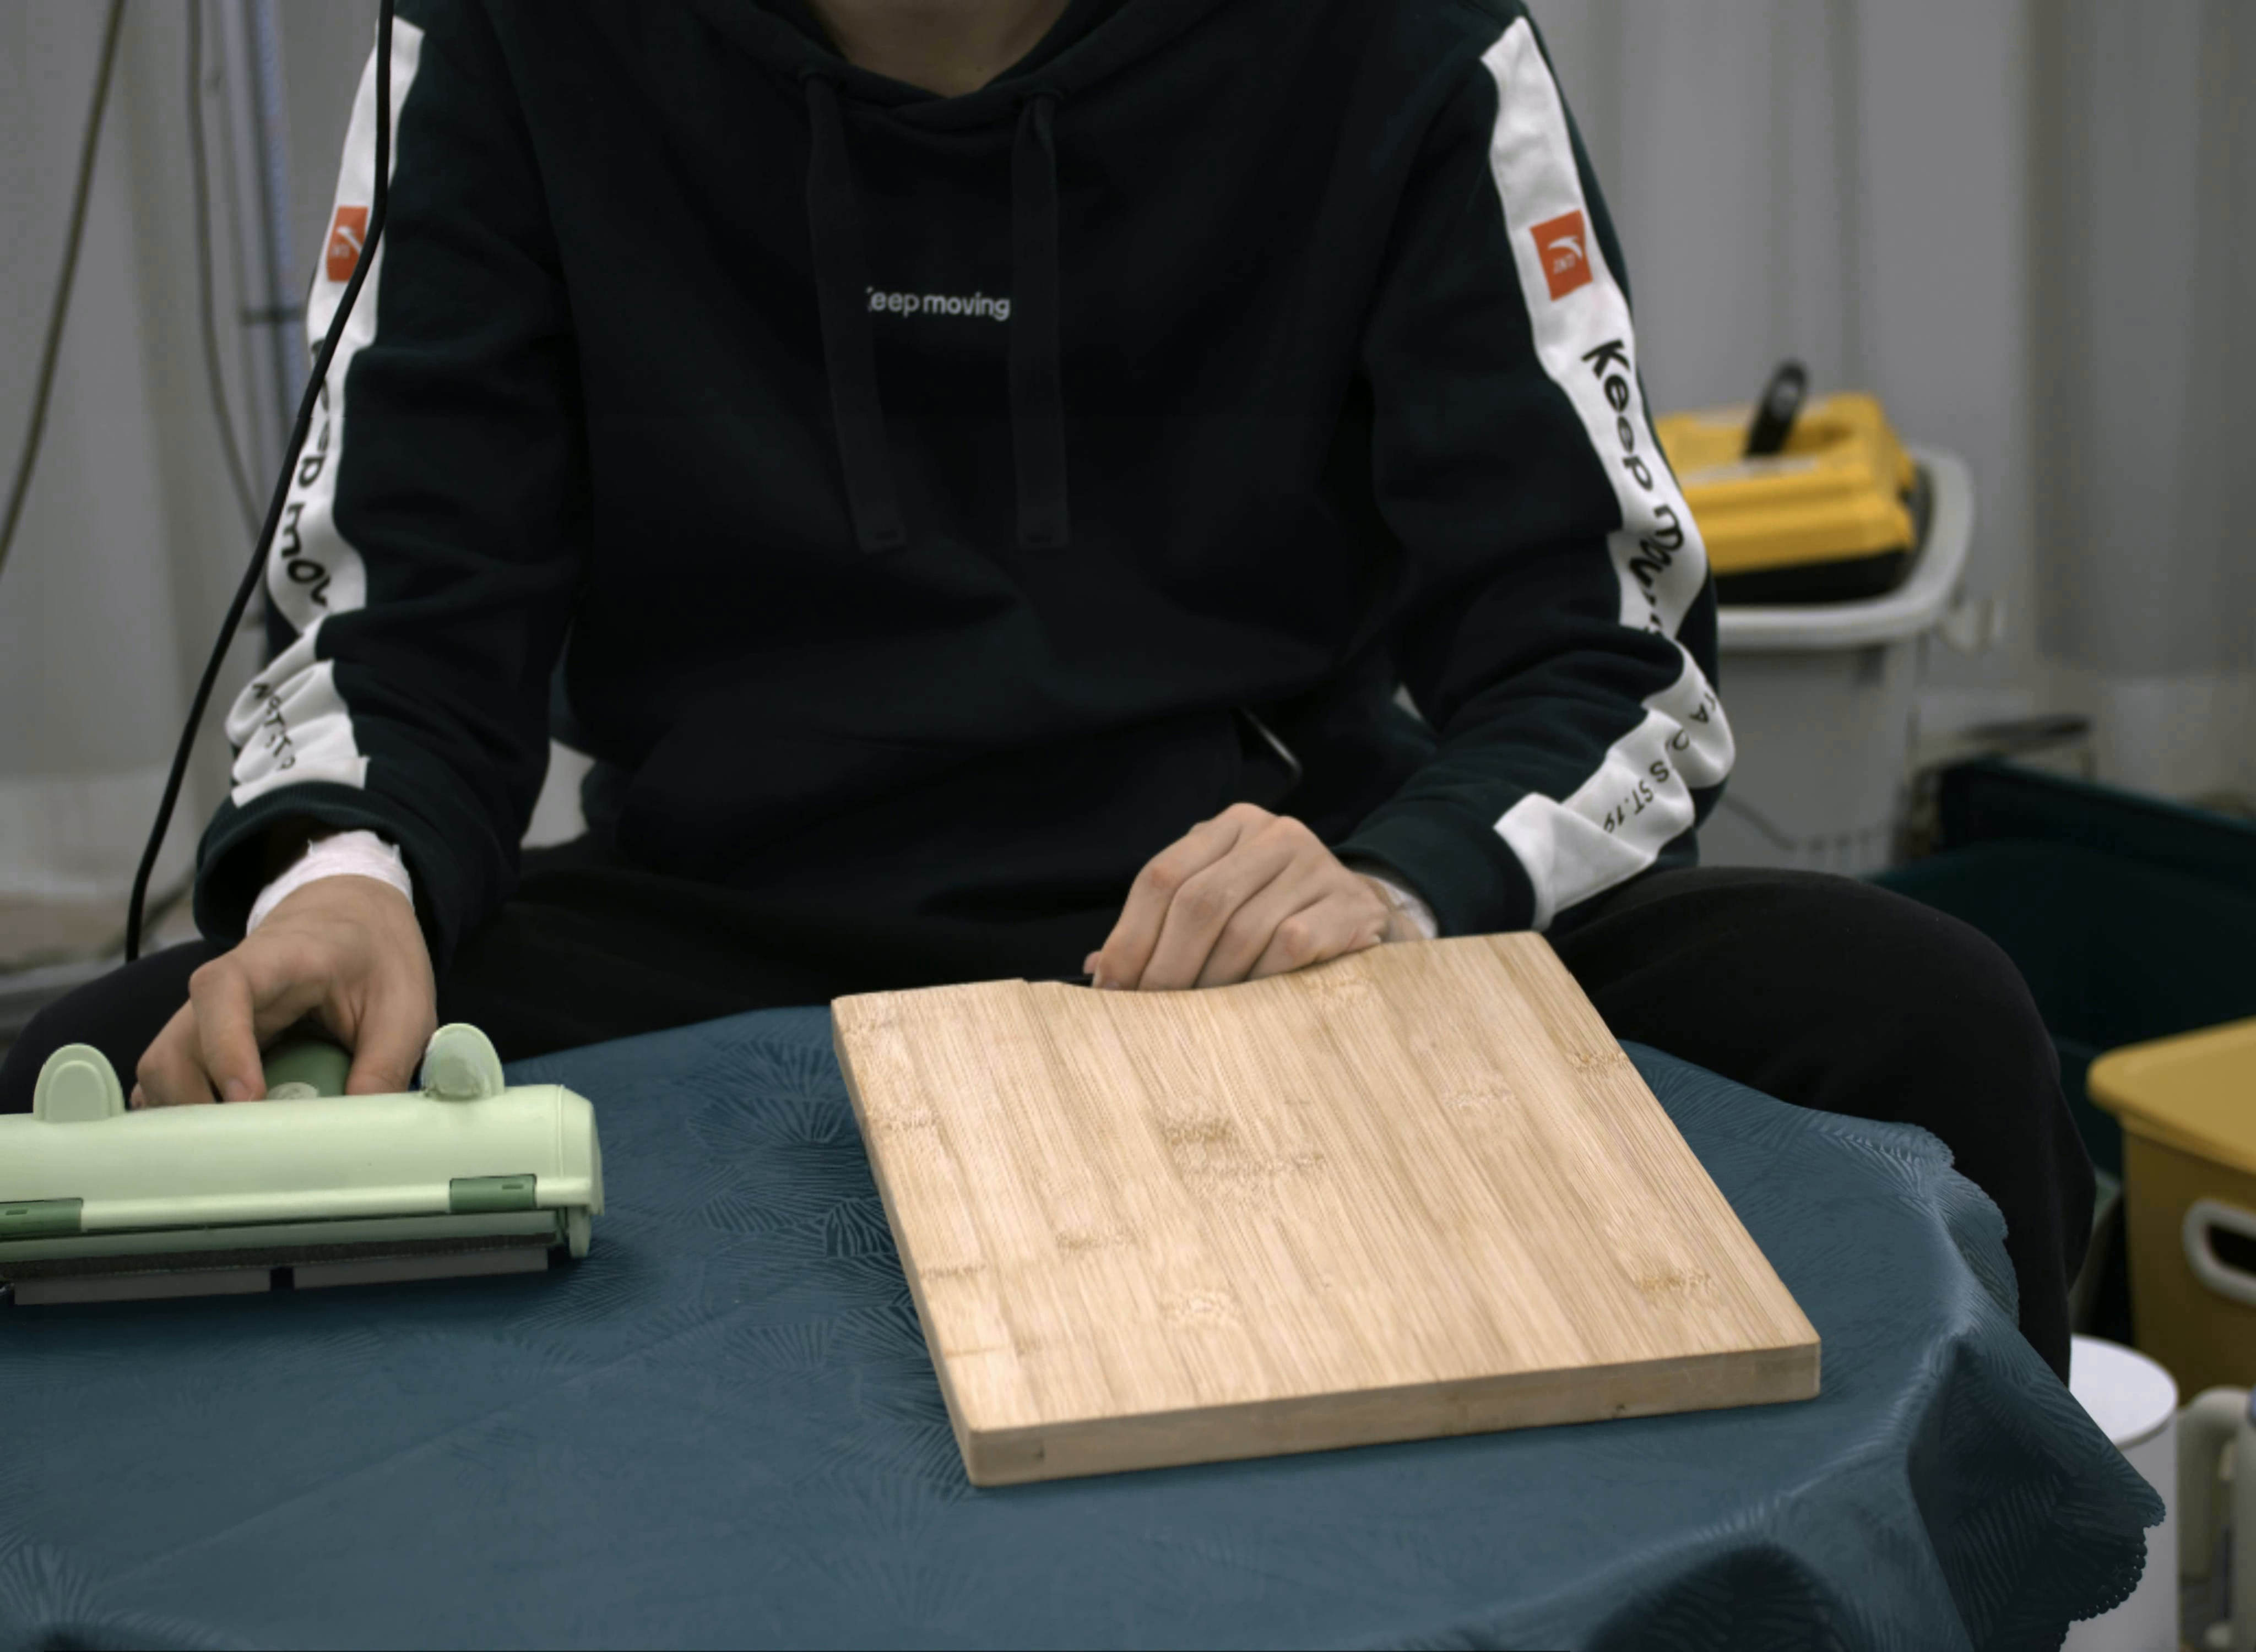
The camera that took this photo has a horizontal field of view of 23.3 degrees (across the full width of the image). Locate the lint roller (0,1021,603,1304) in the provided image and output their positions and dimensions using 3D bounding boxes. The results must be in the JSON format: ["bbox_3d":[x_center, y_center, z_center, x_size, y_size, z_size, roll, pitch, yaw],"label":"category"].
[{"bbox_3d":[-0.263,0.083,1.716,0.198,0.081,0.185,-3,24,-2],"label":"lint roller"}]

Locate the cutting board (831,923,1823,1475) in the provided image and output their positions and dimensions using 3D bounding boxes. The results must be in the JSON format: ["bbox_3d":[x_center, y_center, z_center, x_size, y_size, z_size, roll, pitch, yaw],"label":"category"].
[{"bbox_3d":[0.048,0.107,1.656,0.249,0.023,0.352,-5,19,-9],"label":"cutting board"}]
